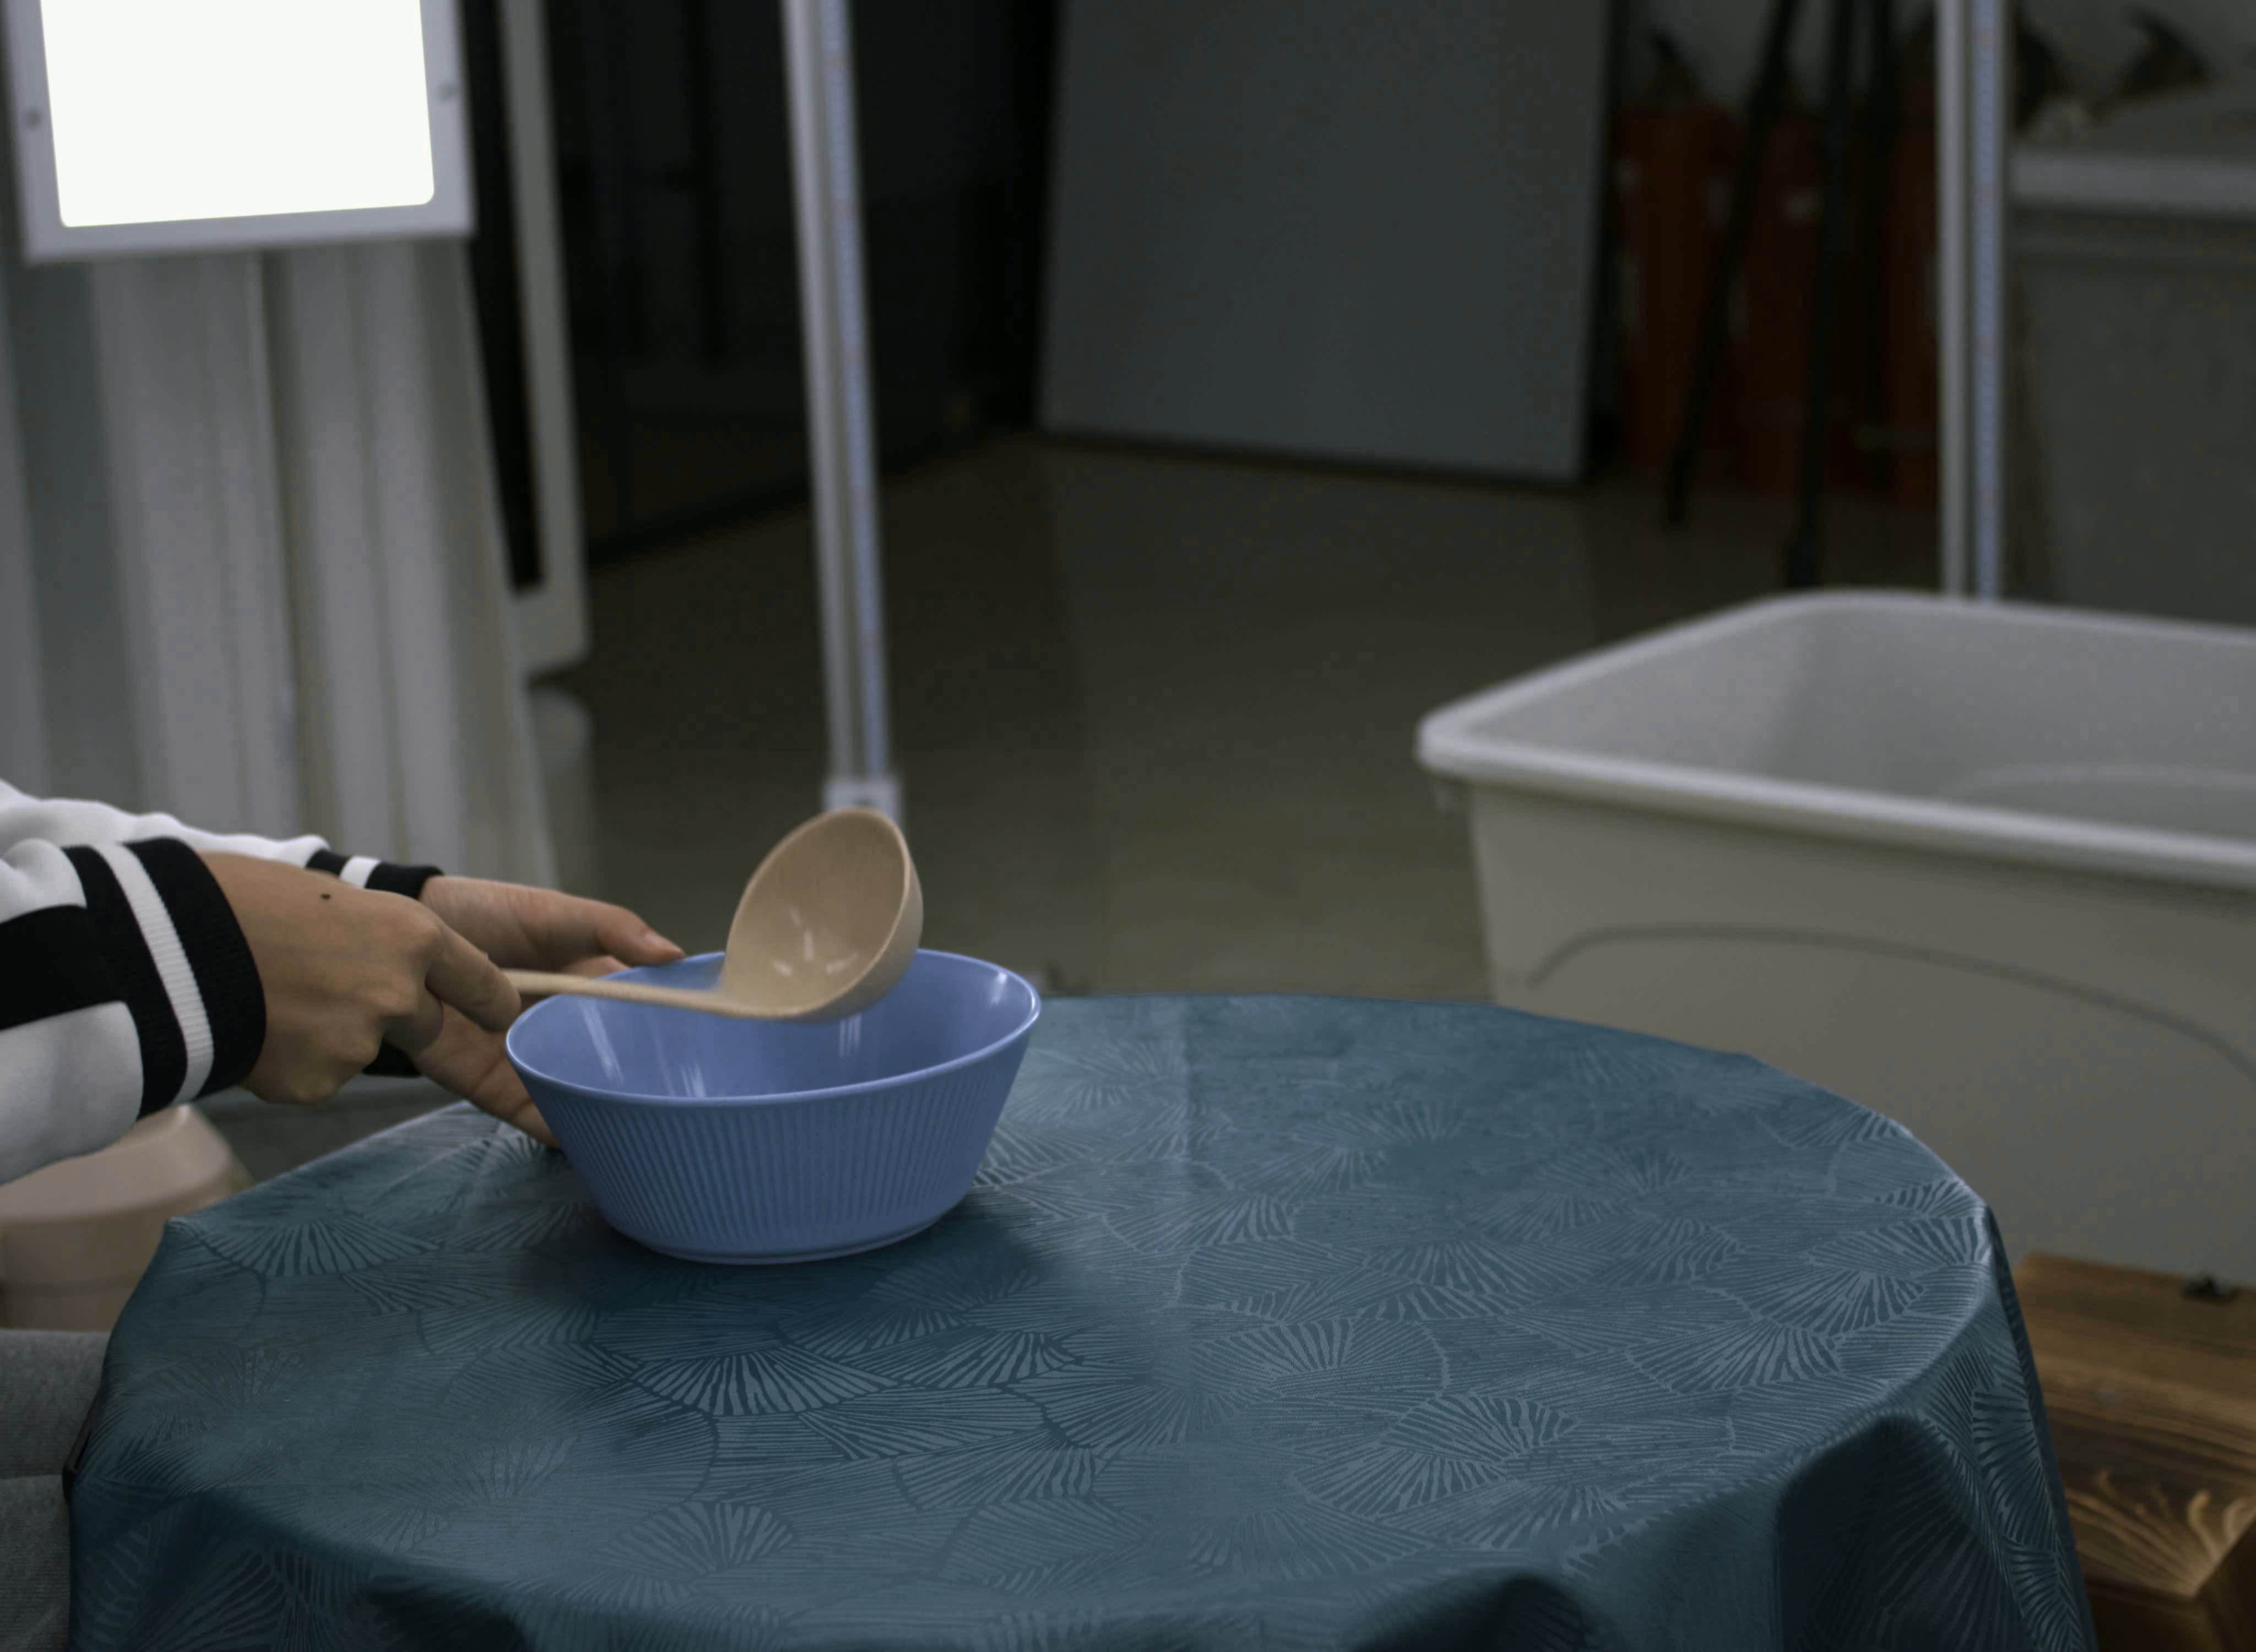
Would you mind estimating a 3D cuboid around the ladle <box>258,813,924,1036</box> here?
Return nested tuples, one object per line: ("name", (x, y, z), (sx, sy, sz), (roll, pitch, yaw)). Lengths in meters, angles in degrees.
("ladle", (-0.165, 0.027, 1.685), (0.073, 0.074, 0.249), (12, 6, 42))

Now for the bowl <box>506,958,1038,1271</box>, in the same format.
("bowl", (-0.113, 0.096, 1.761), (0.174, 0.071, 0.176), (-4, 13, 0))
